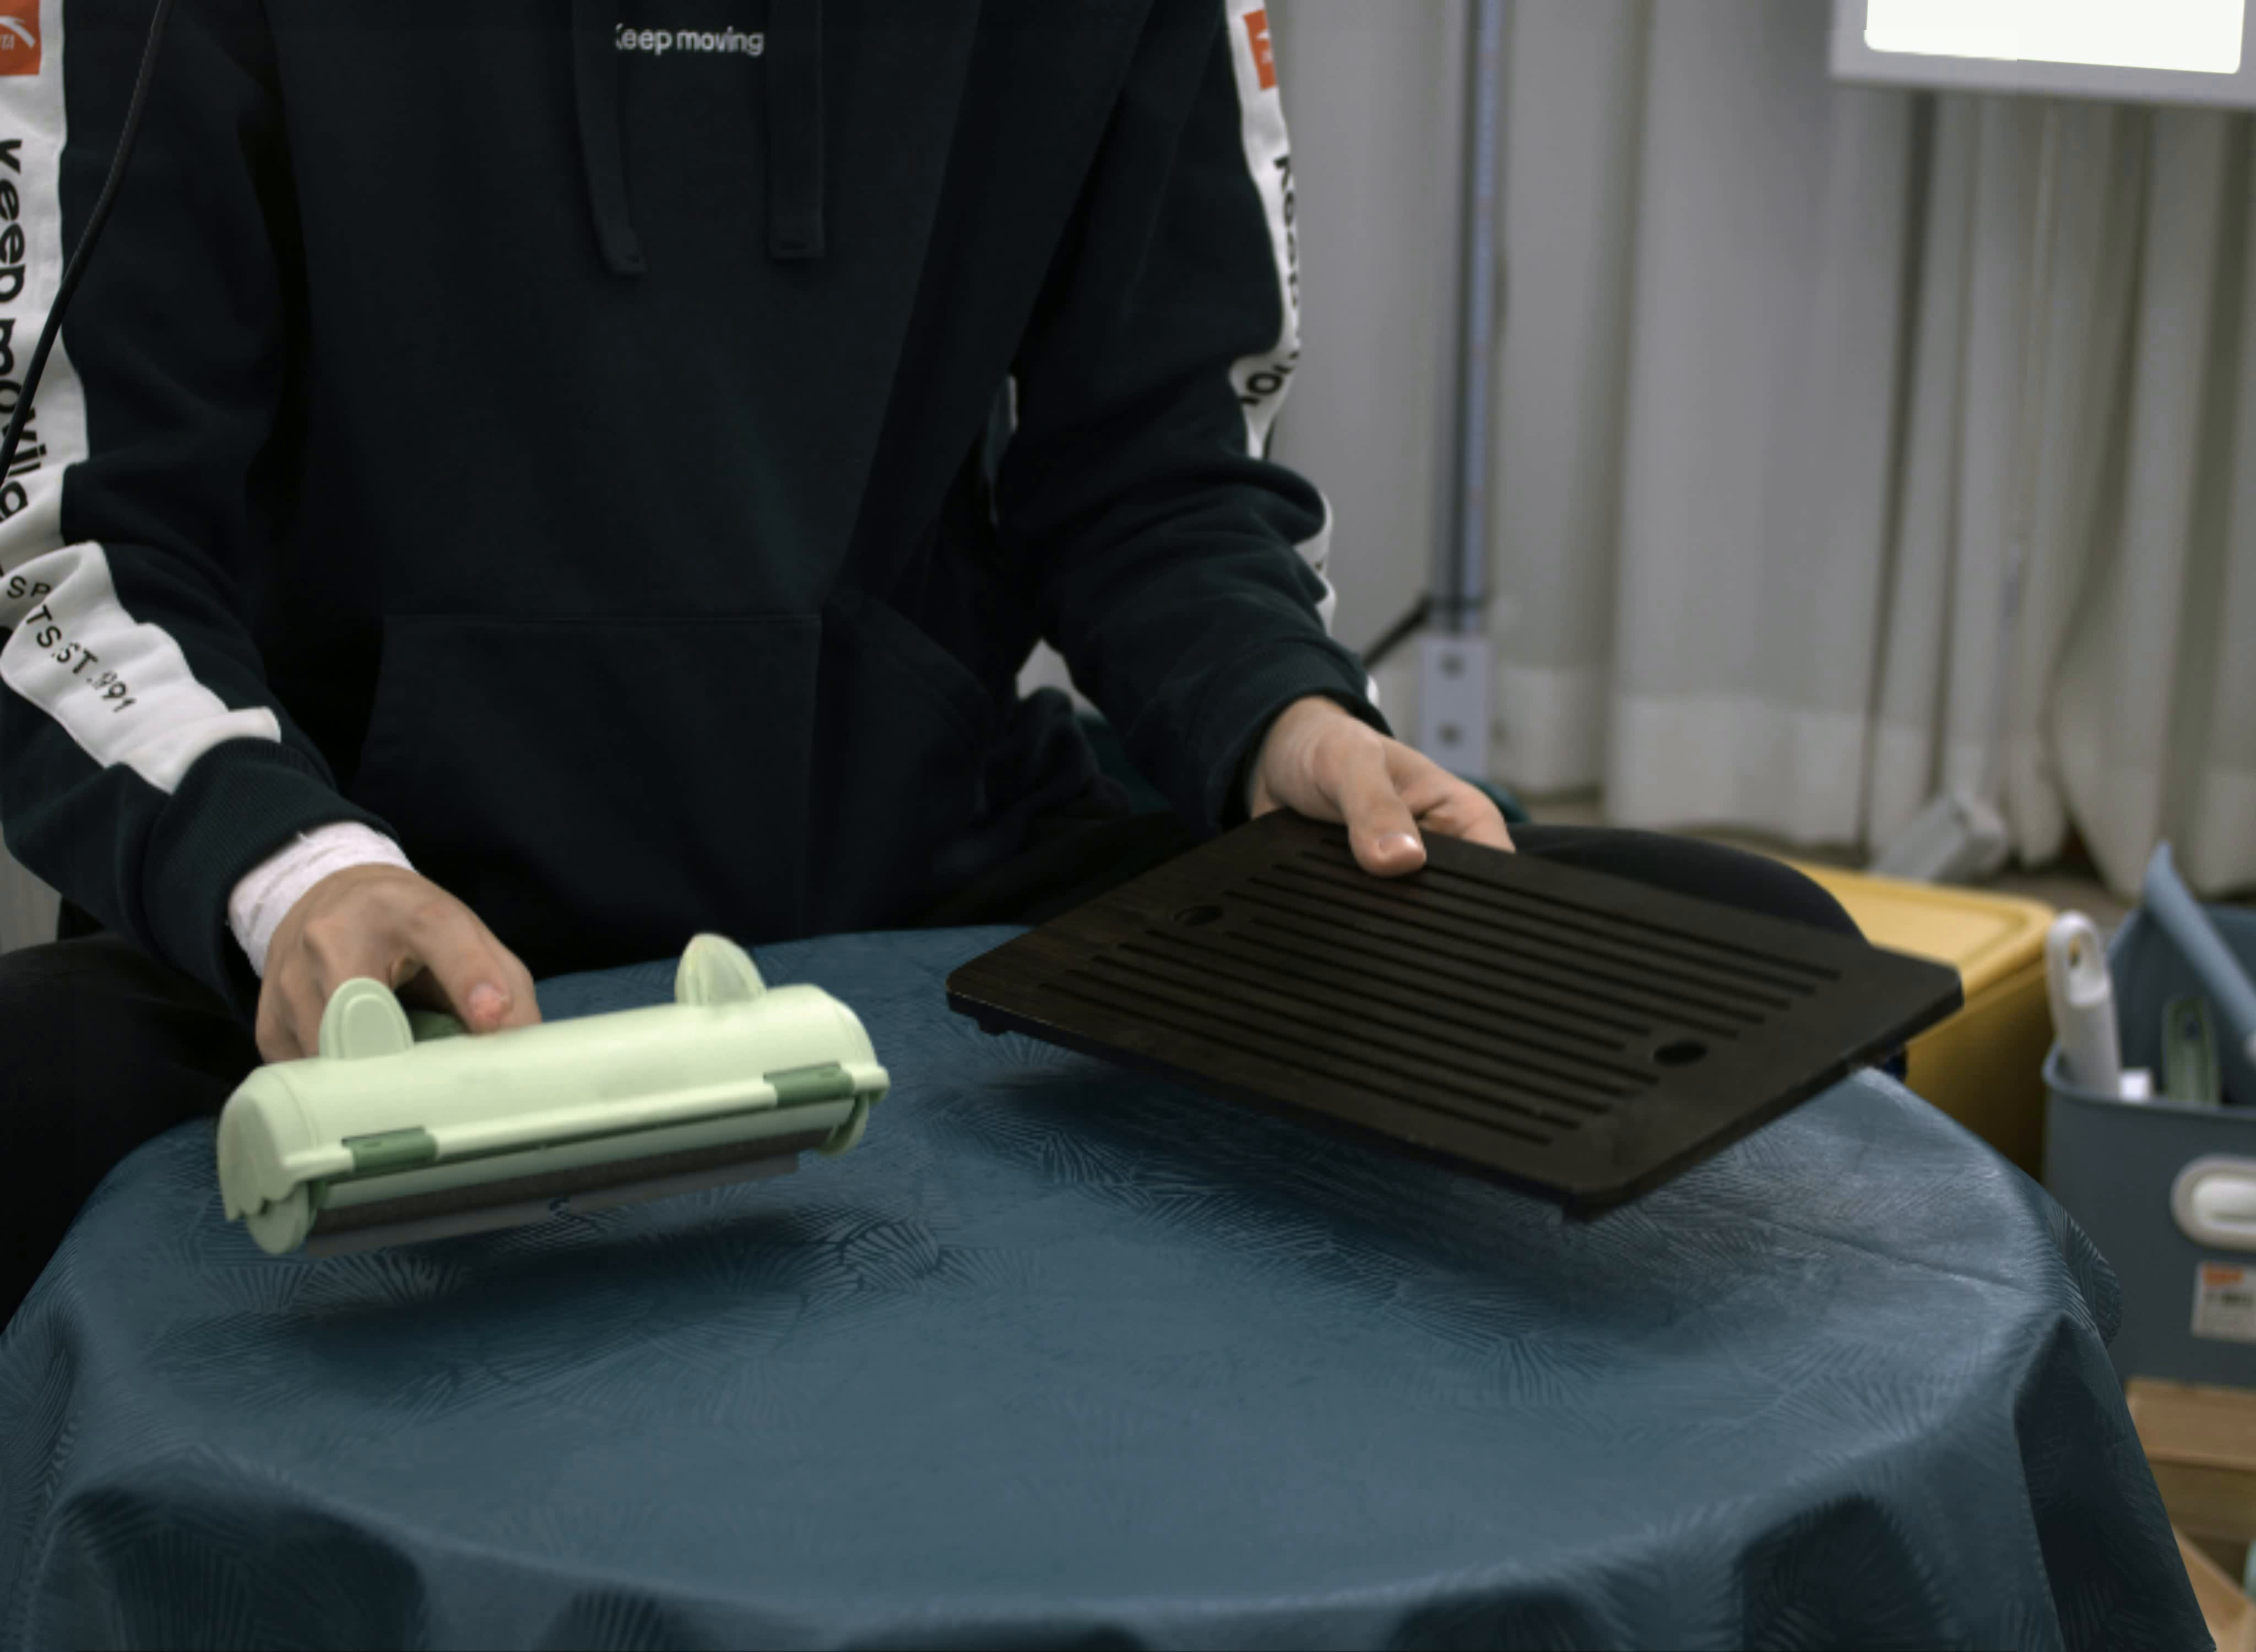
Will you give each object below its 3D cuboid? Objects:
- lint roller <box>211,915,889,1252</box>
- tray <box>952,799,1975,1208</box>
[{"bbox_3d":[-0.197,0.061,1.576,0.199,0.083,0.181,-9,21,-32],"label":"lint roller"},{"bbox_3d":[0.100,0.052,1.647,0.170,0.019,0.302,-27,26,-36],"label":"tray"}]
